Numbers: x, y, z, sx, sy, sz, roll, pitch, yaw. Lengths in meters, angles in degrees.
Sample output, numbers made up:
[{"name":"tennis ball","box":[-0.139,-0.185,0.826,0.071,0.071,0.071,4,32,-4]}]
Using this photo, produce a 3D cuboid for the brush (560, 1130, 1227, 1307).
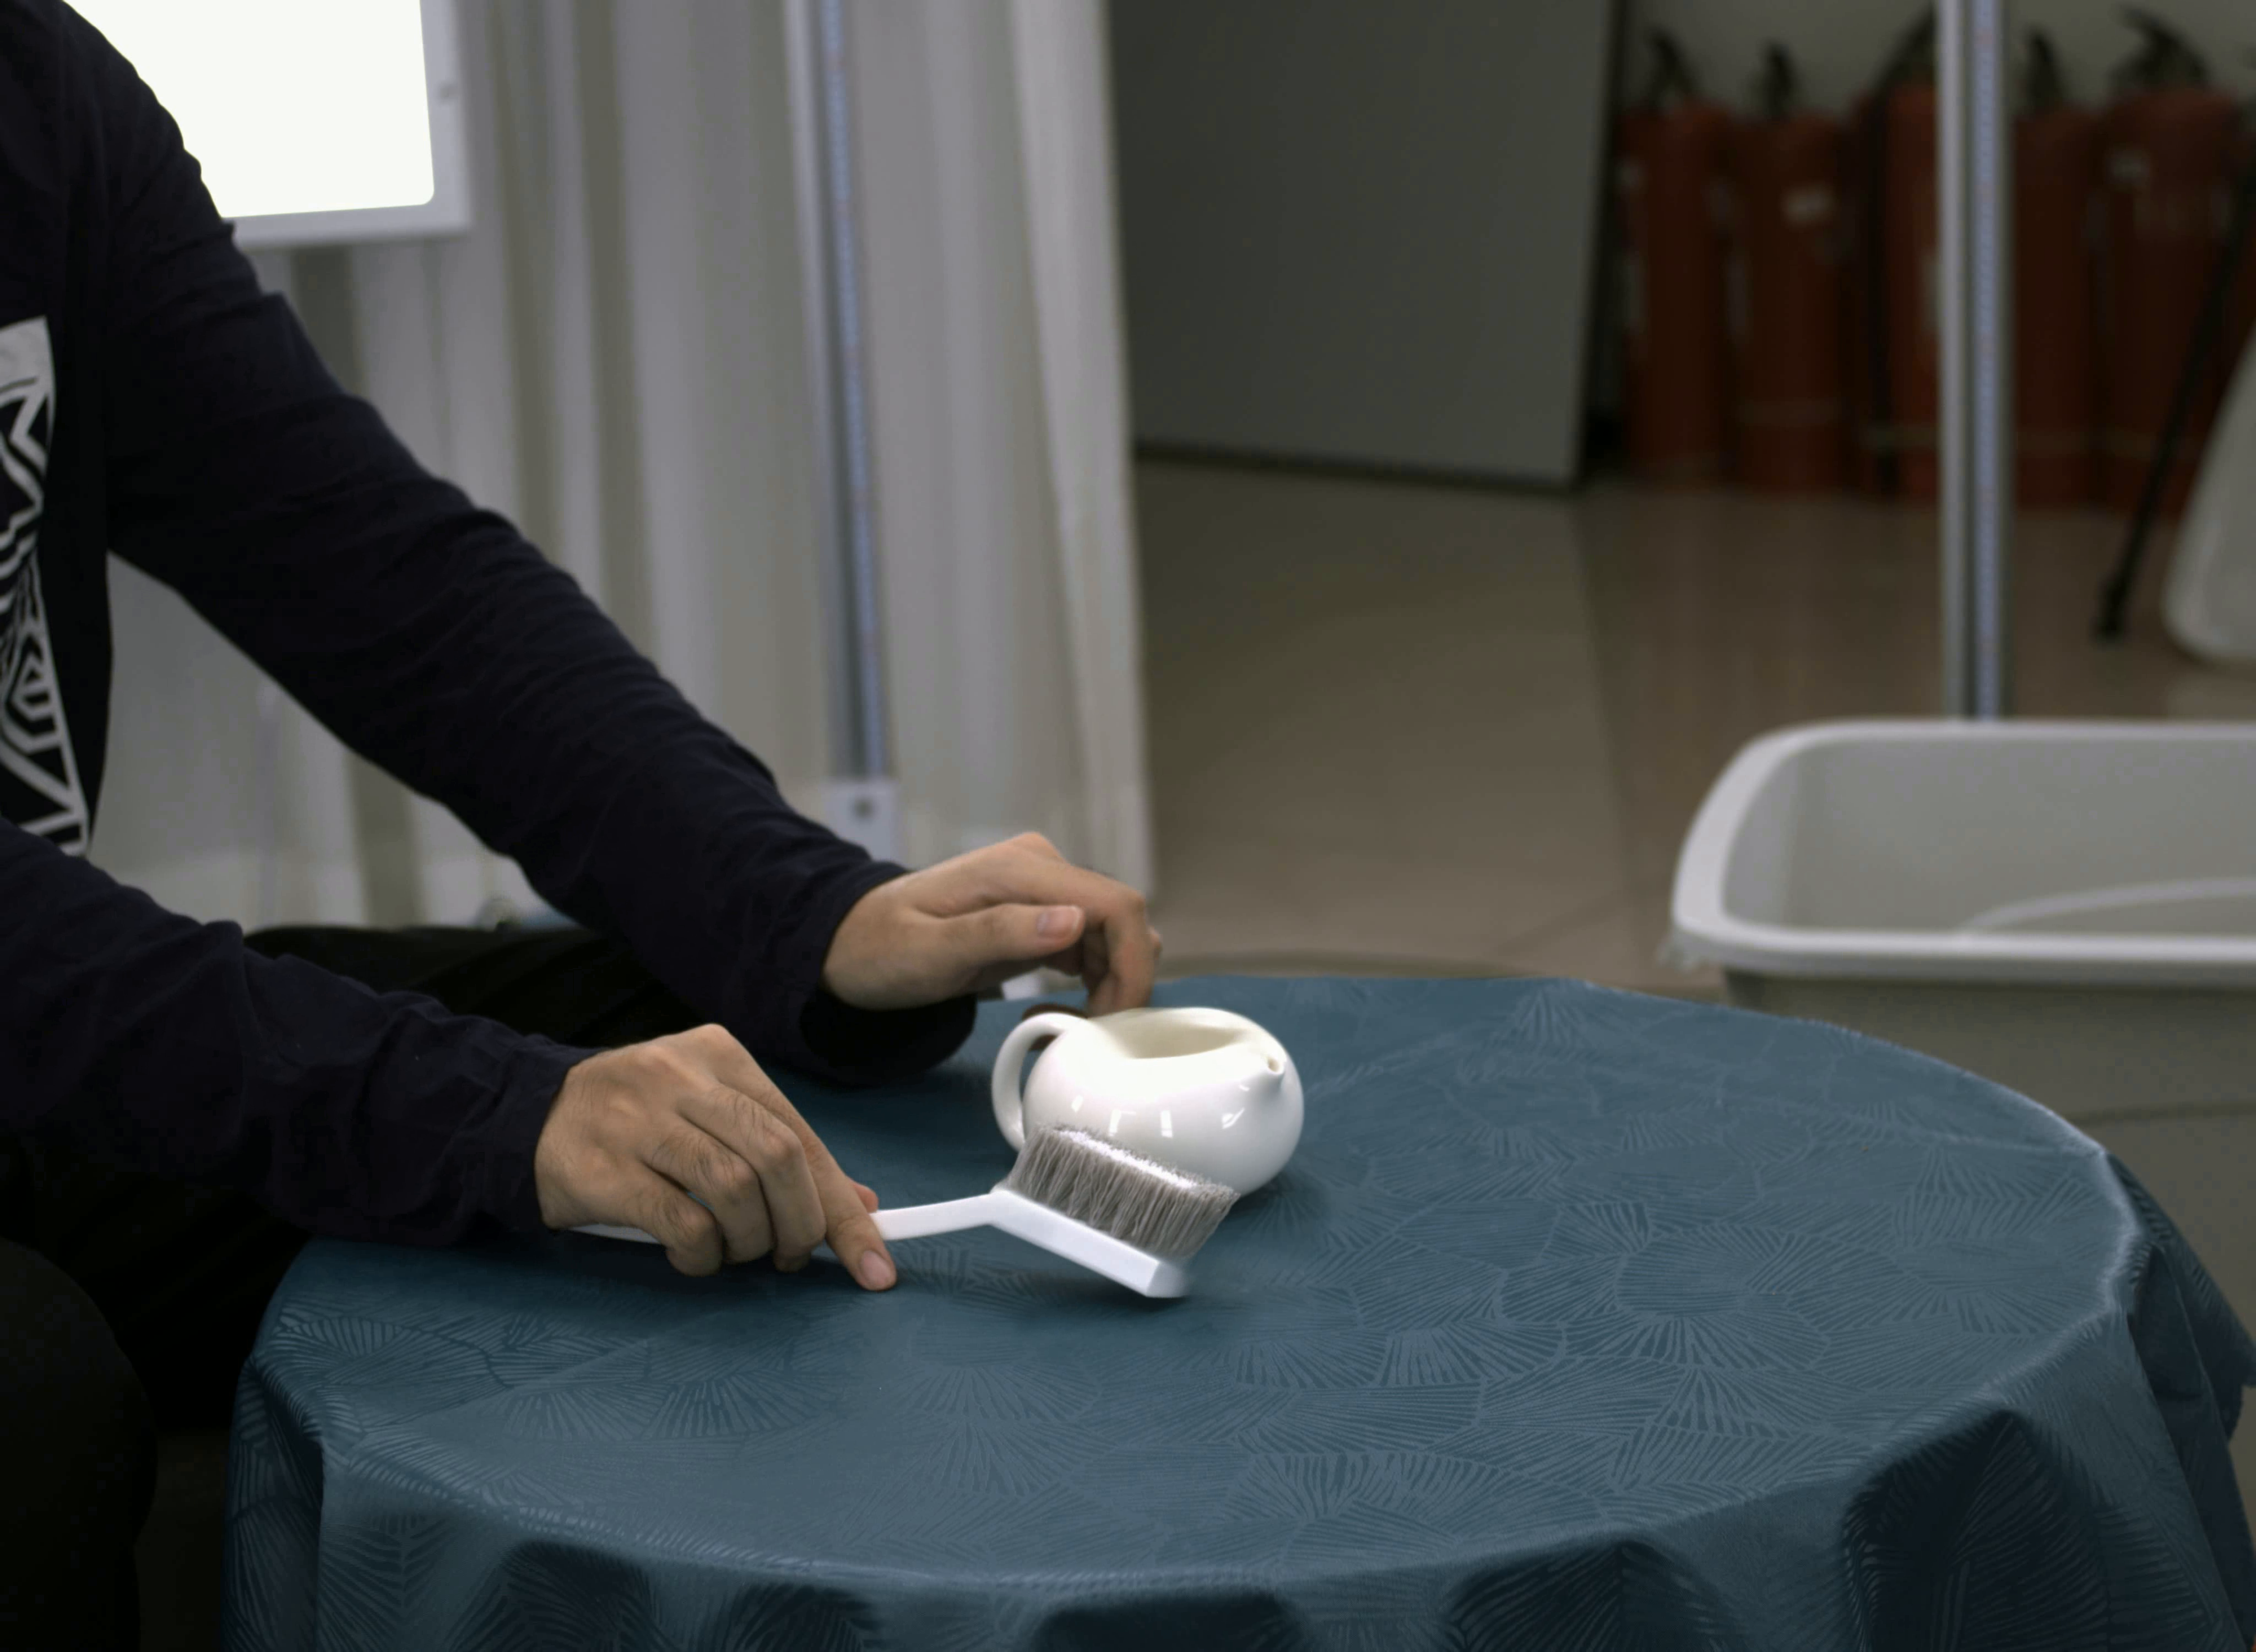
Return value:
[{"name":"brush","box":[-0.079,0.117,1.715,0.244,0.051,0.034,3,5,31]}]

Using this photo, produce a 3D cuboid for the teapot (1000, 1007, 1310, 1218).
[{"name":"teapot","box":[0.005,0.095,1.773,0.128,0.057,0.092,4,21,39]}]
